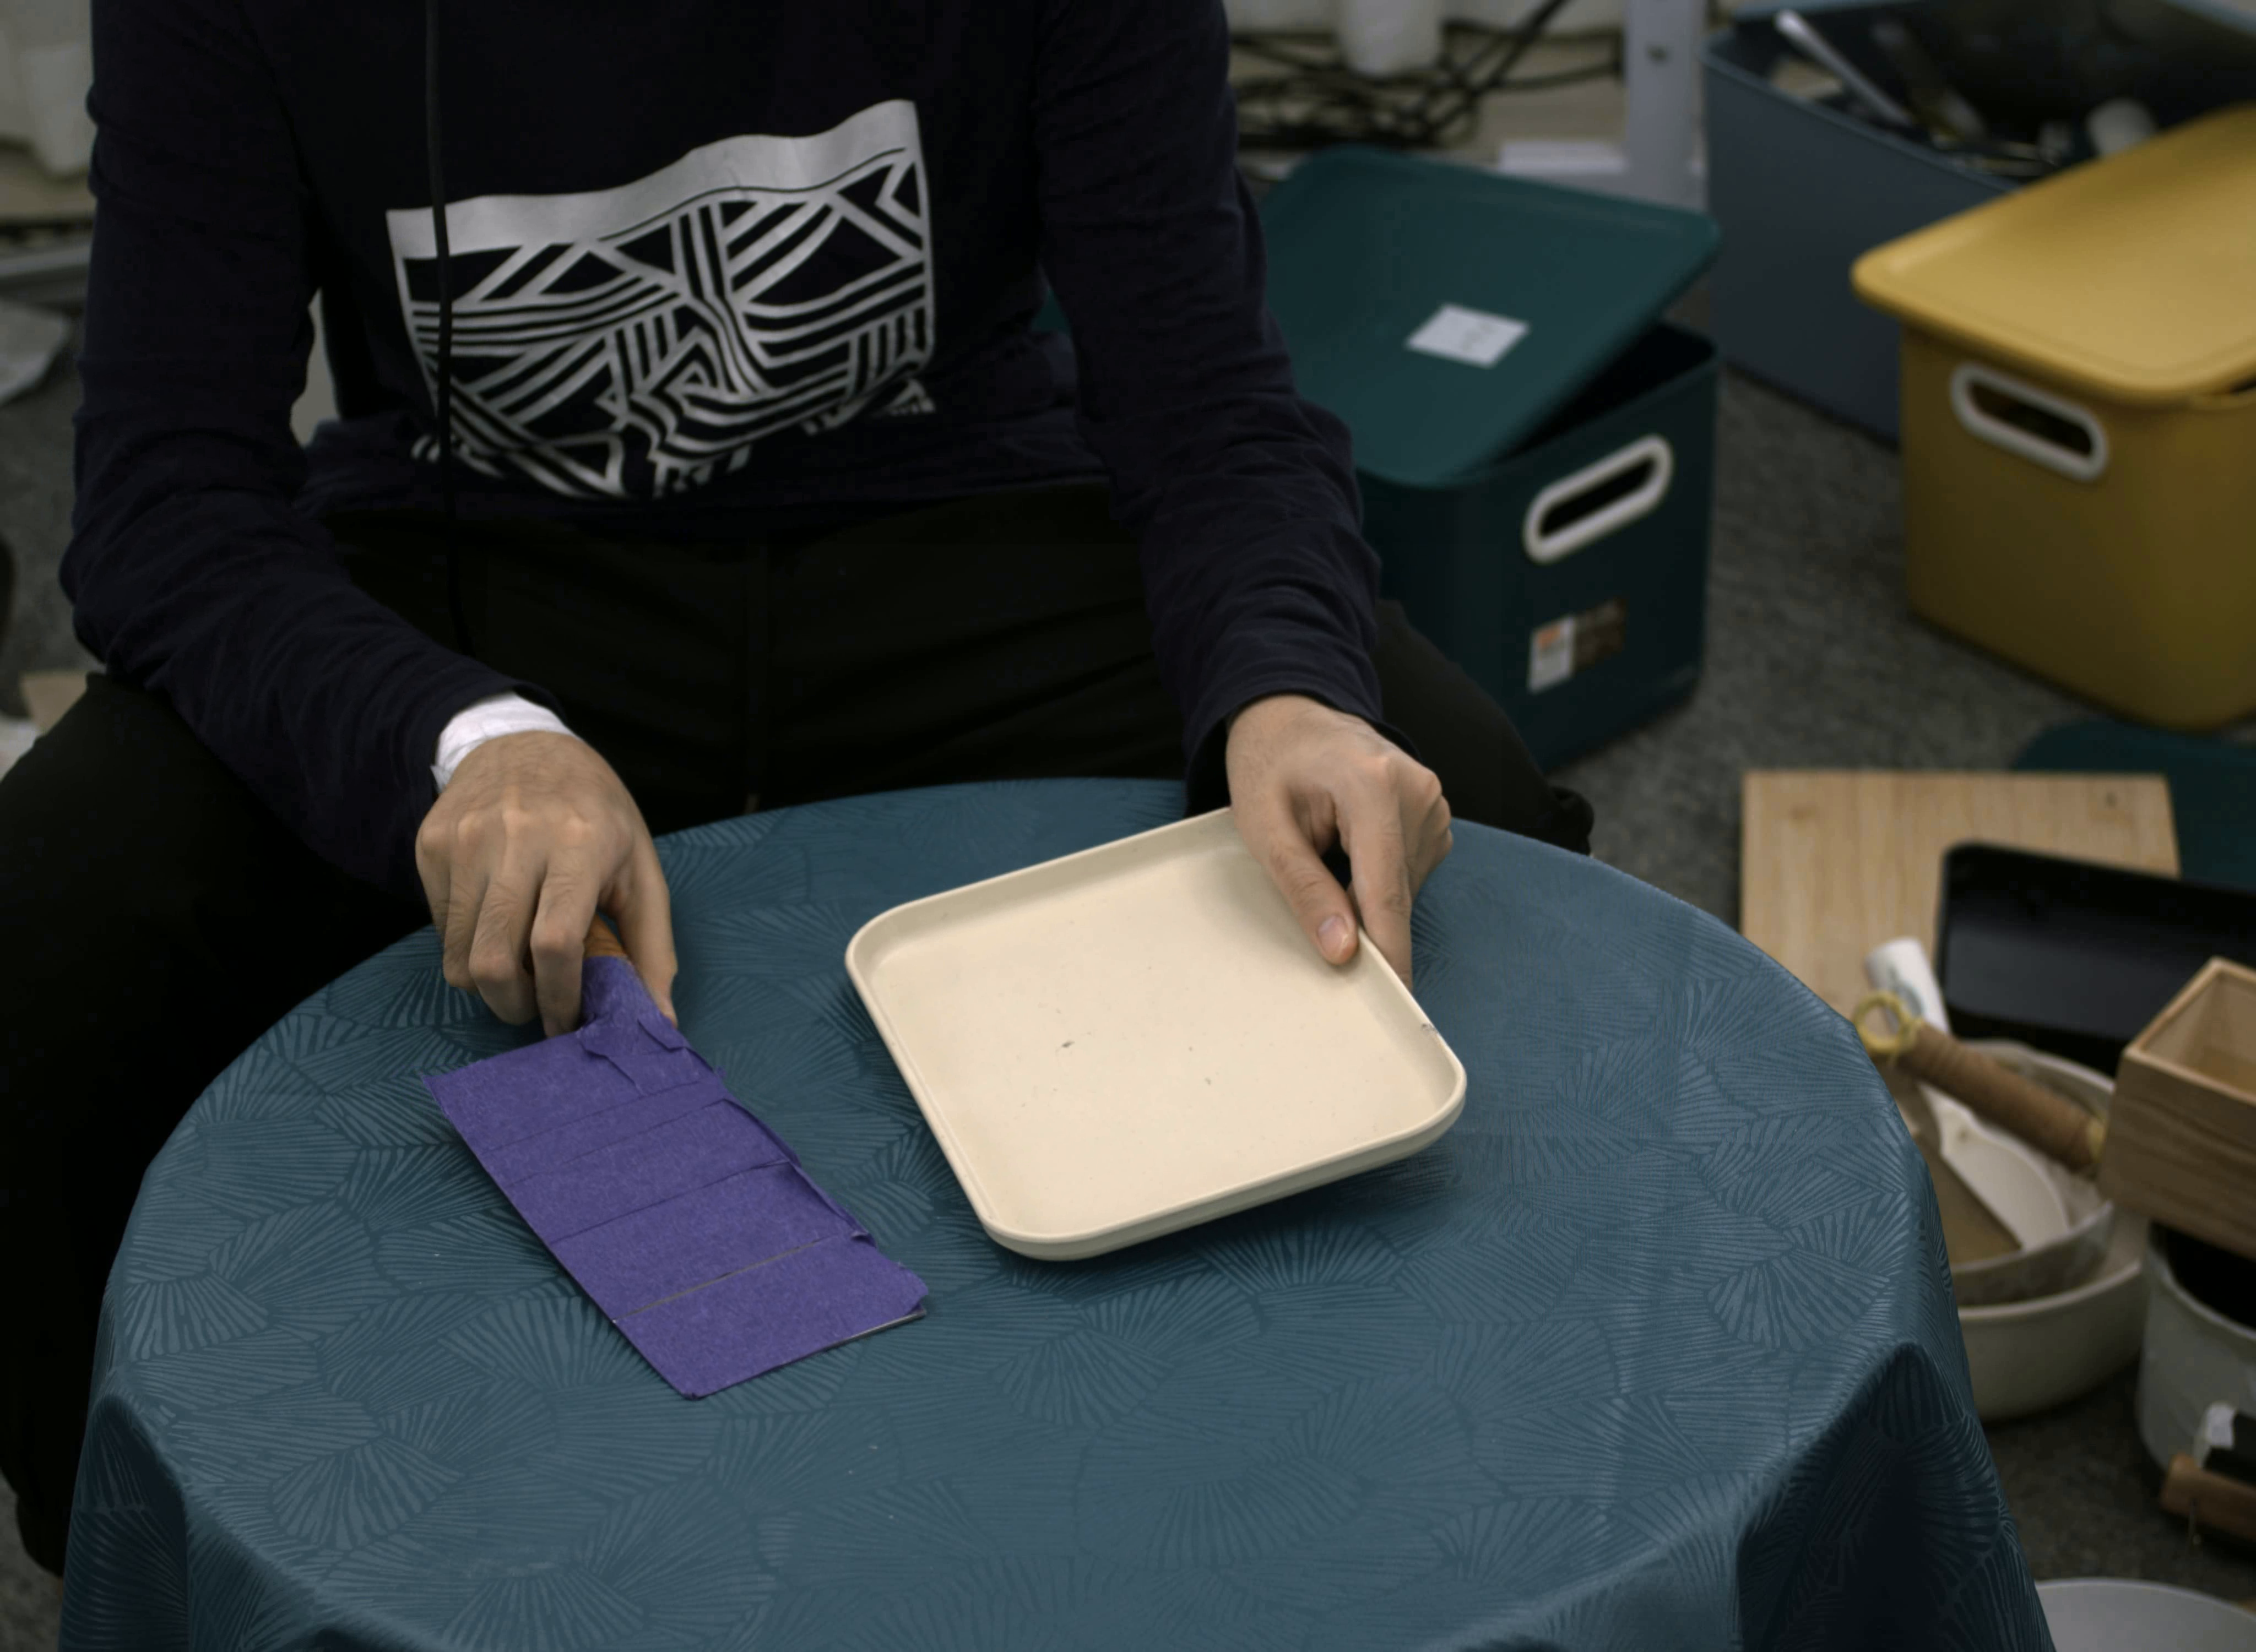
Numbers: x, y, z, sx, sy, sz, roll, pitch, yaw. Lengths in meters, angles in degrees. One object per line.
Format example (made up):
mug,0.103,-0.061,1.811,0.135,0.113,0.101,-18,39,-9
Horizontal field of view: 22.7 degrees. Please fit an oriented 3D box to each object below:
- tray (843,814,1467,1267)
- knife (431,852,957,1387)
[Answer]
tray,0.006,0.072,1.921,0.171,0.017,0.242,-17,30,-10
knife,-0.176,0.095,1.892,0.104,0.032,0.317,-16,32,-26
